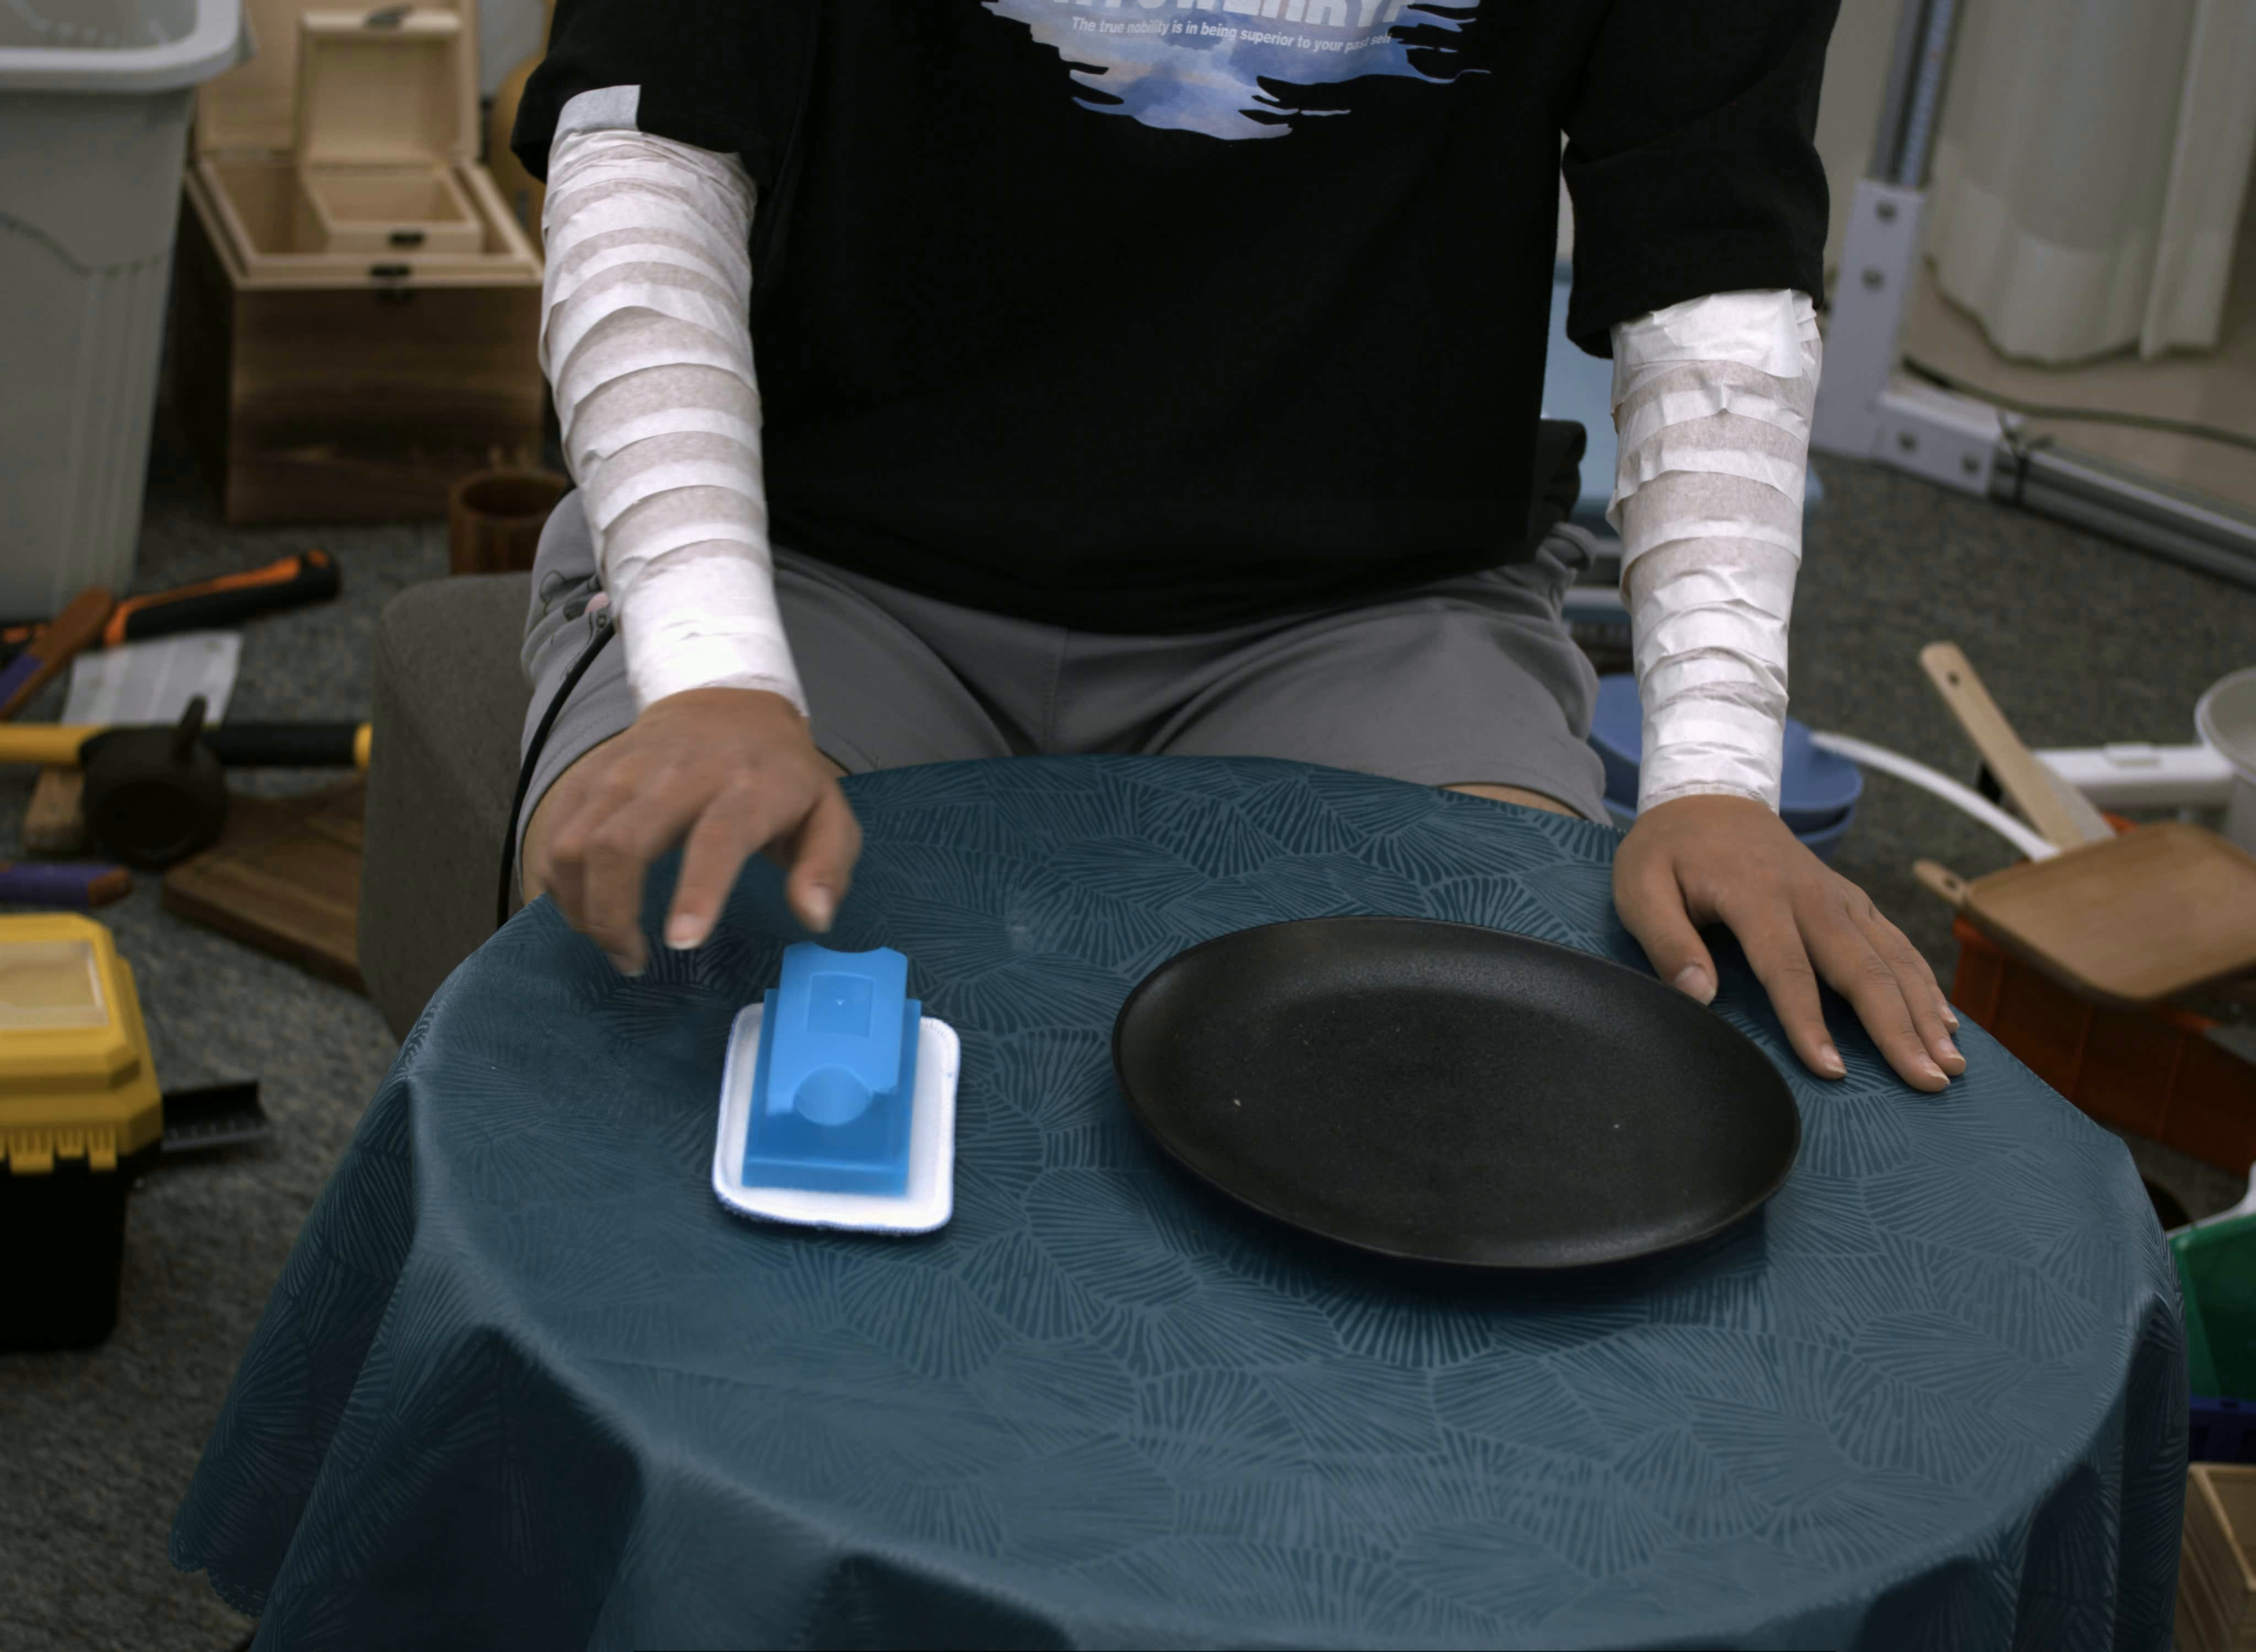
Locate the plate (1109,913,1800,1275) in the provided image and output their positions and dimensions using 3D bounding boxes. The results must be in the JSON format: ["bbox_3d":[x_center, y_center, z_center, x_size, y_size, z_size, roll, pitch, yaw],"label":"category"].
[{"bbox_3d":[0.112,0.097,1.856,0.243,0.023,0.246,5,27,-3],"label":"plate"}]

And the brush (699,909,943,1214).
[{"bbox_3d":[-0.102,0.074,1.808,0.083,0.056,0.145,9,29,-6],"label":"brush"}]
